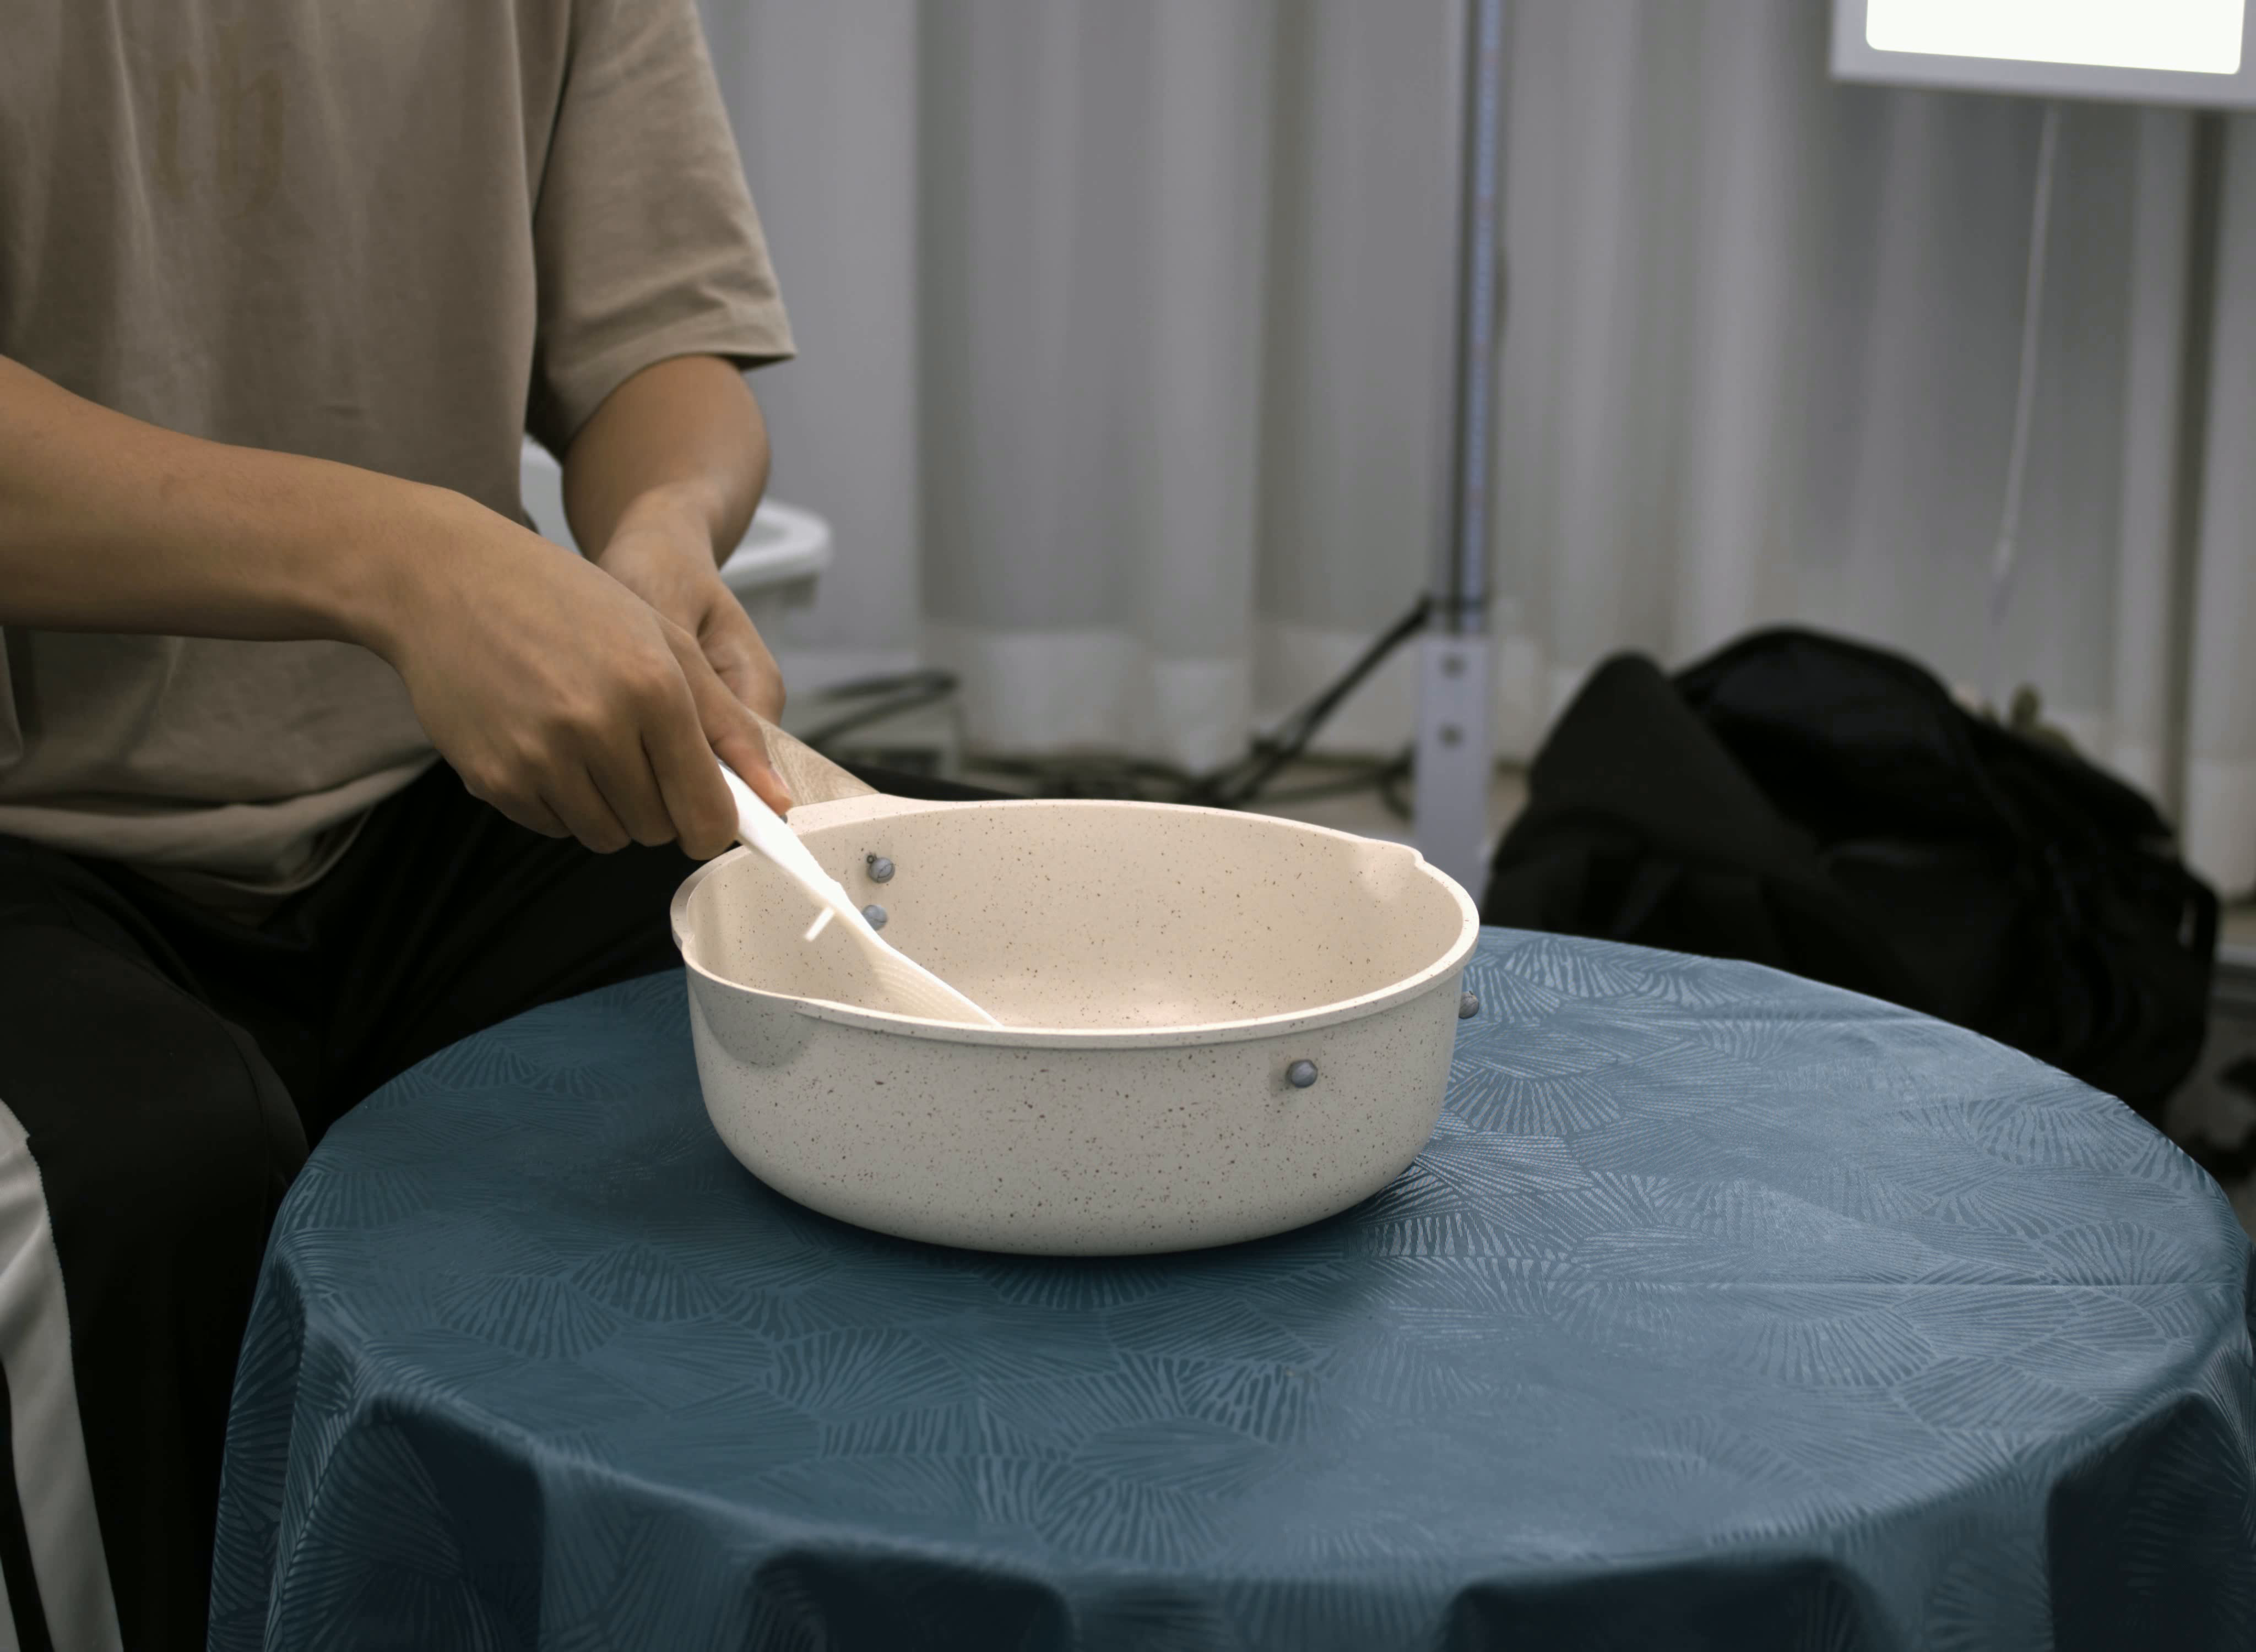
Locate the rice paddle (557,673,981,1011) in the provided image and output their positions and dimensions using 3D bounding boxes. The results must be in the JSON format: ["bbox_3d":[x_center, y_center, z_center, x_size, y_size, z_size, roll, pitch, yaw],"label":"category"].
[{"bbox_3d":[-0.090,0.028,1.644,0.206,0.029,0.068,40,-10,-10],"label":"rice paddle"}]

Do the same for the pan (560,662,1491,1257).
[{"bbox_3d":[-0.064,0.037,1.716,0.264,0.103,0.429,-13,20,-33],"label":"pan"}]
